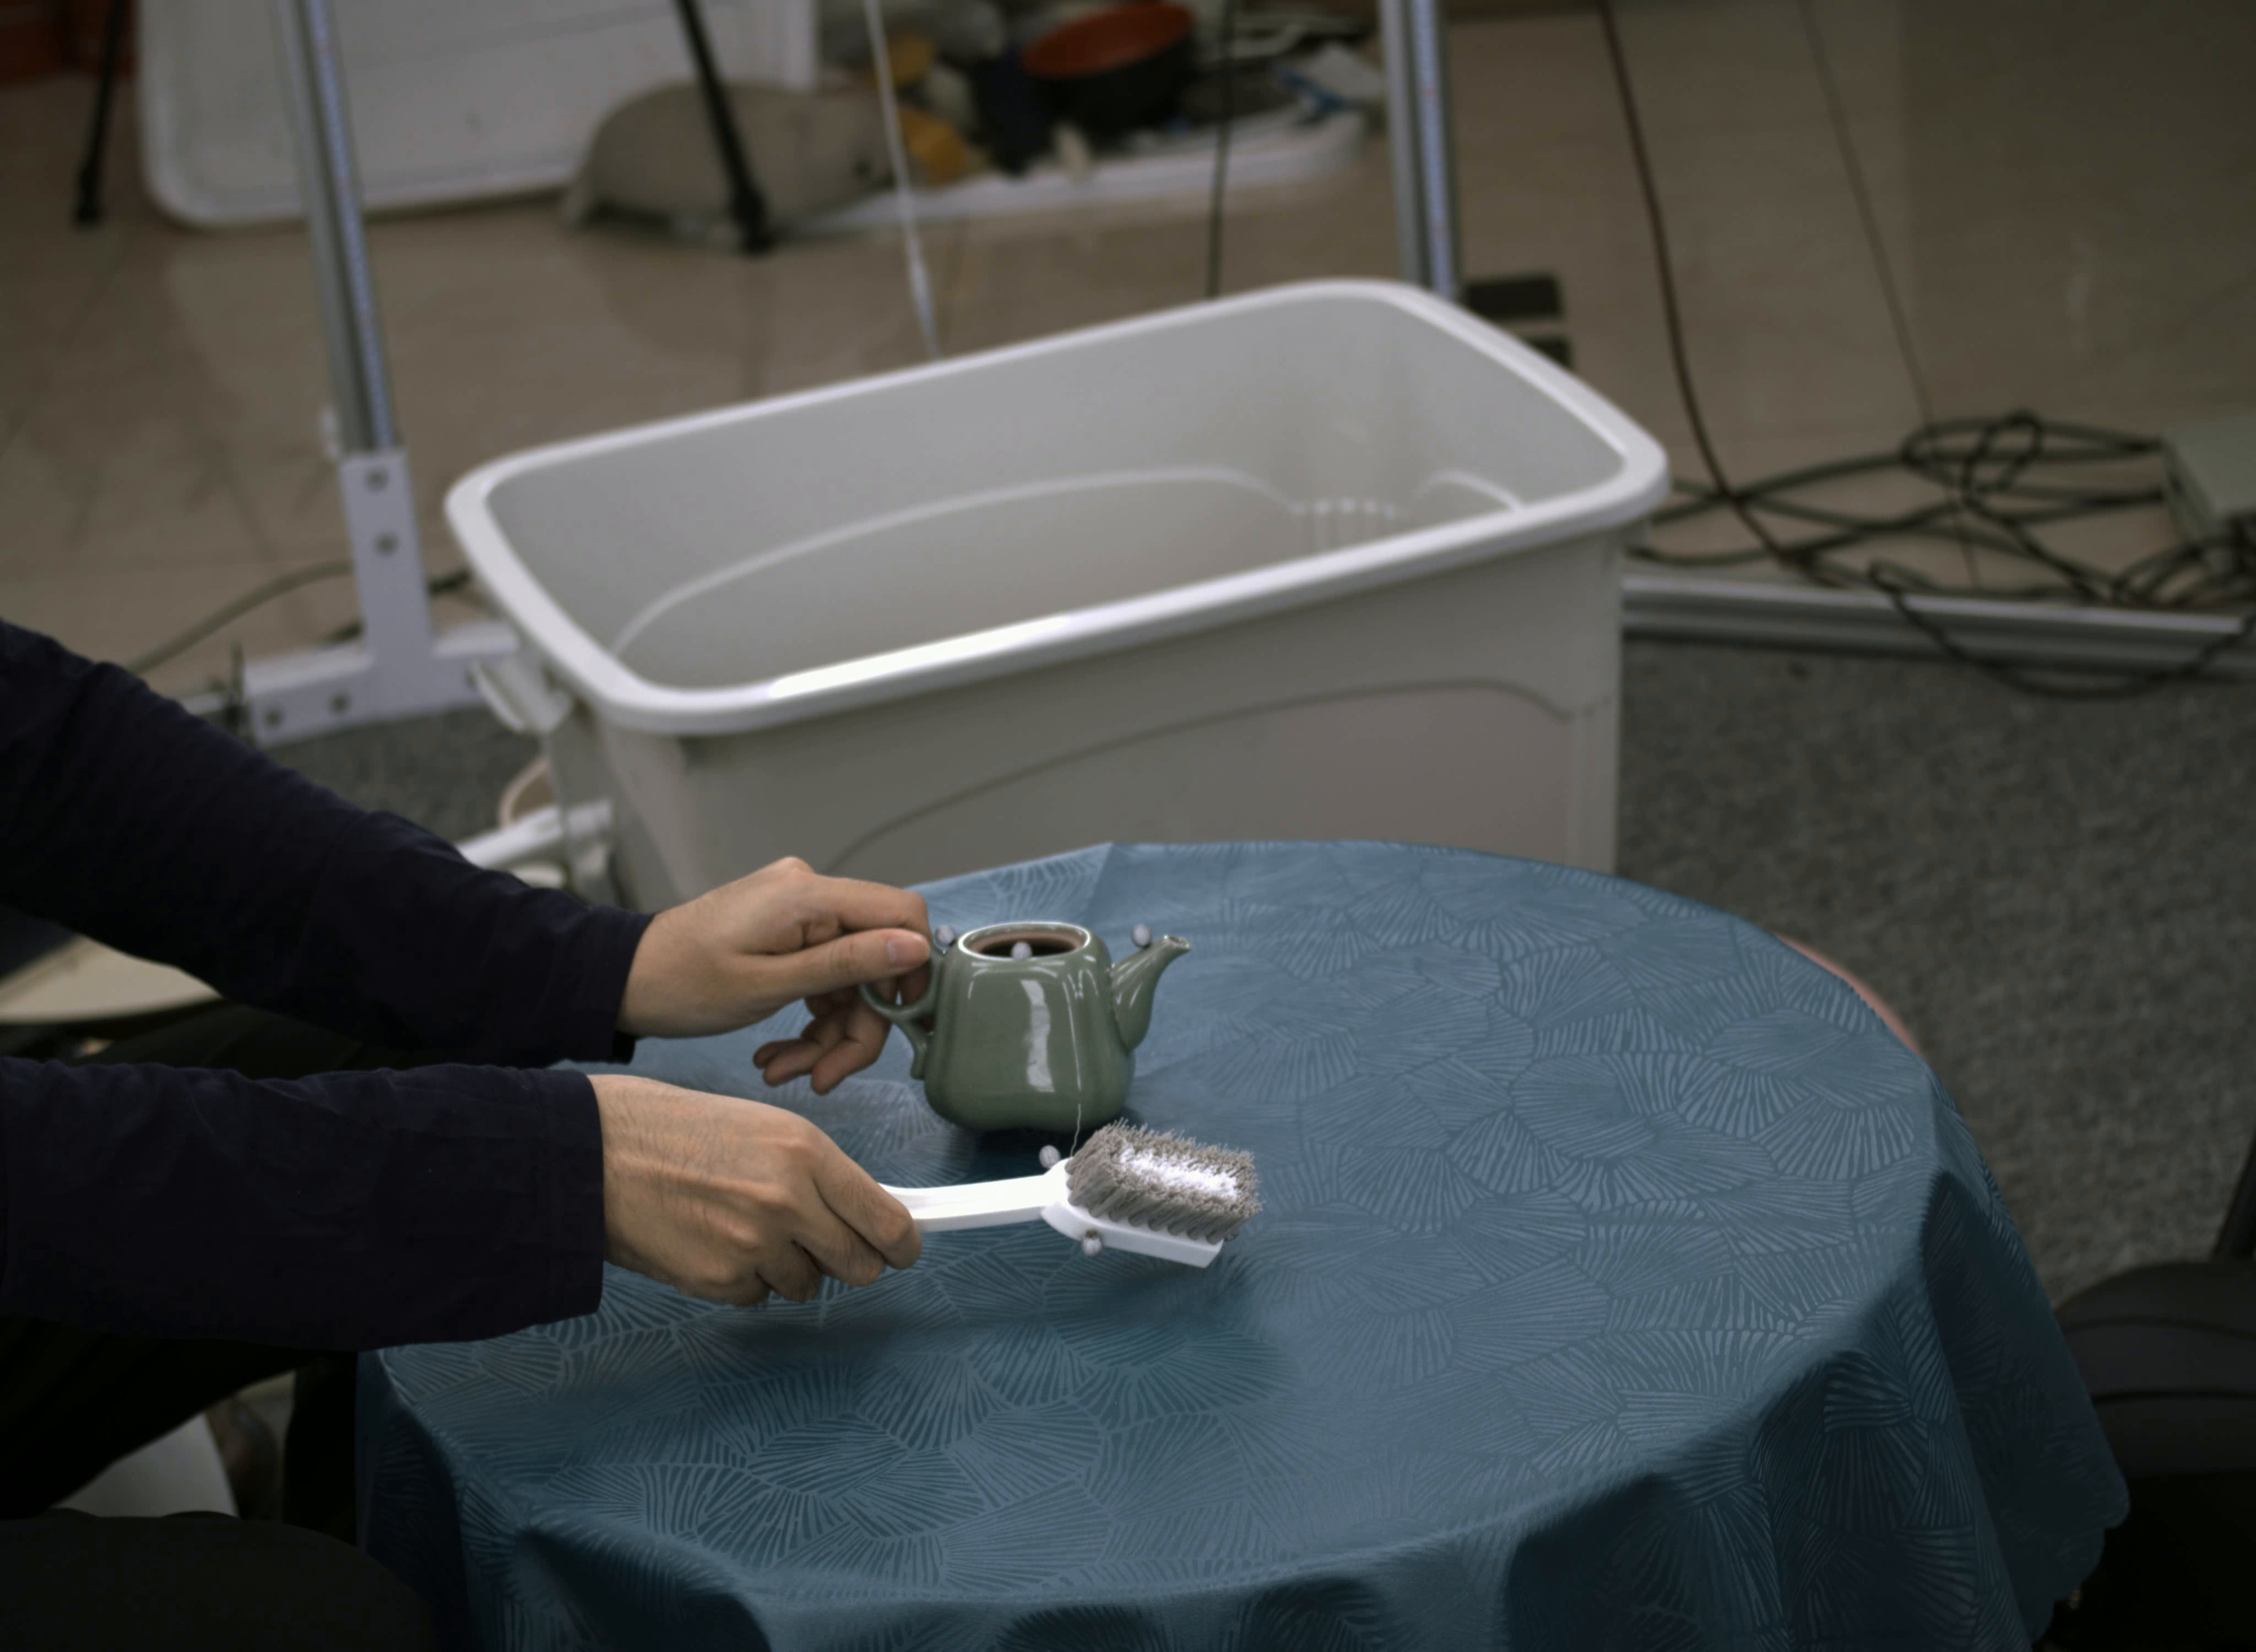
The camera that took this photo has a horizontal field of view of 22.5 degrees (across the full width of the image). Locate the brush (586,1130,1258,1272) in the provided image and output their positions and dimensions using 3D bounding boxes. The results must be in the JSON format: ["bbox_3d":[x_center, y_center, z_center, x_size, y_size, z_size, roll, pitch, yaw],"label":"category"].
[{"bbox_3d":[-0.074,0.131,2.061,0.243,0.051,0.034,4,52,-9],"label":"brush"}]

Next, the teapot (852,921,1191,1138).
[{"bbox_3d":[-0.040,0.077,2.194,0.132,0.076,0.079,-1,18,5],"label":"teapot"}]
